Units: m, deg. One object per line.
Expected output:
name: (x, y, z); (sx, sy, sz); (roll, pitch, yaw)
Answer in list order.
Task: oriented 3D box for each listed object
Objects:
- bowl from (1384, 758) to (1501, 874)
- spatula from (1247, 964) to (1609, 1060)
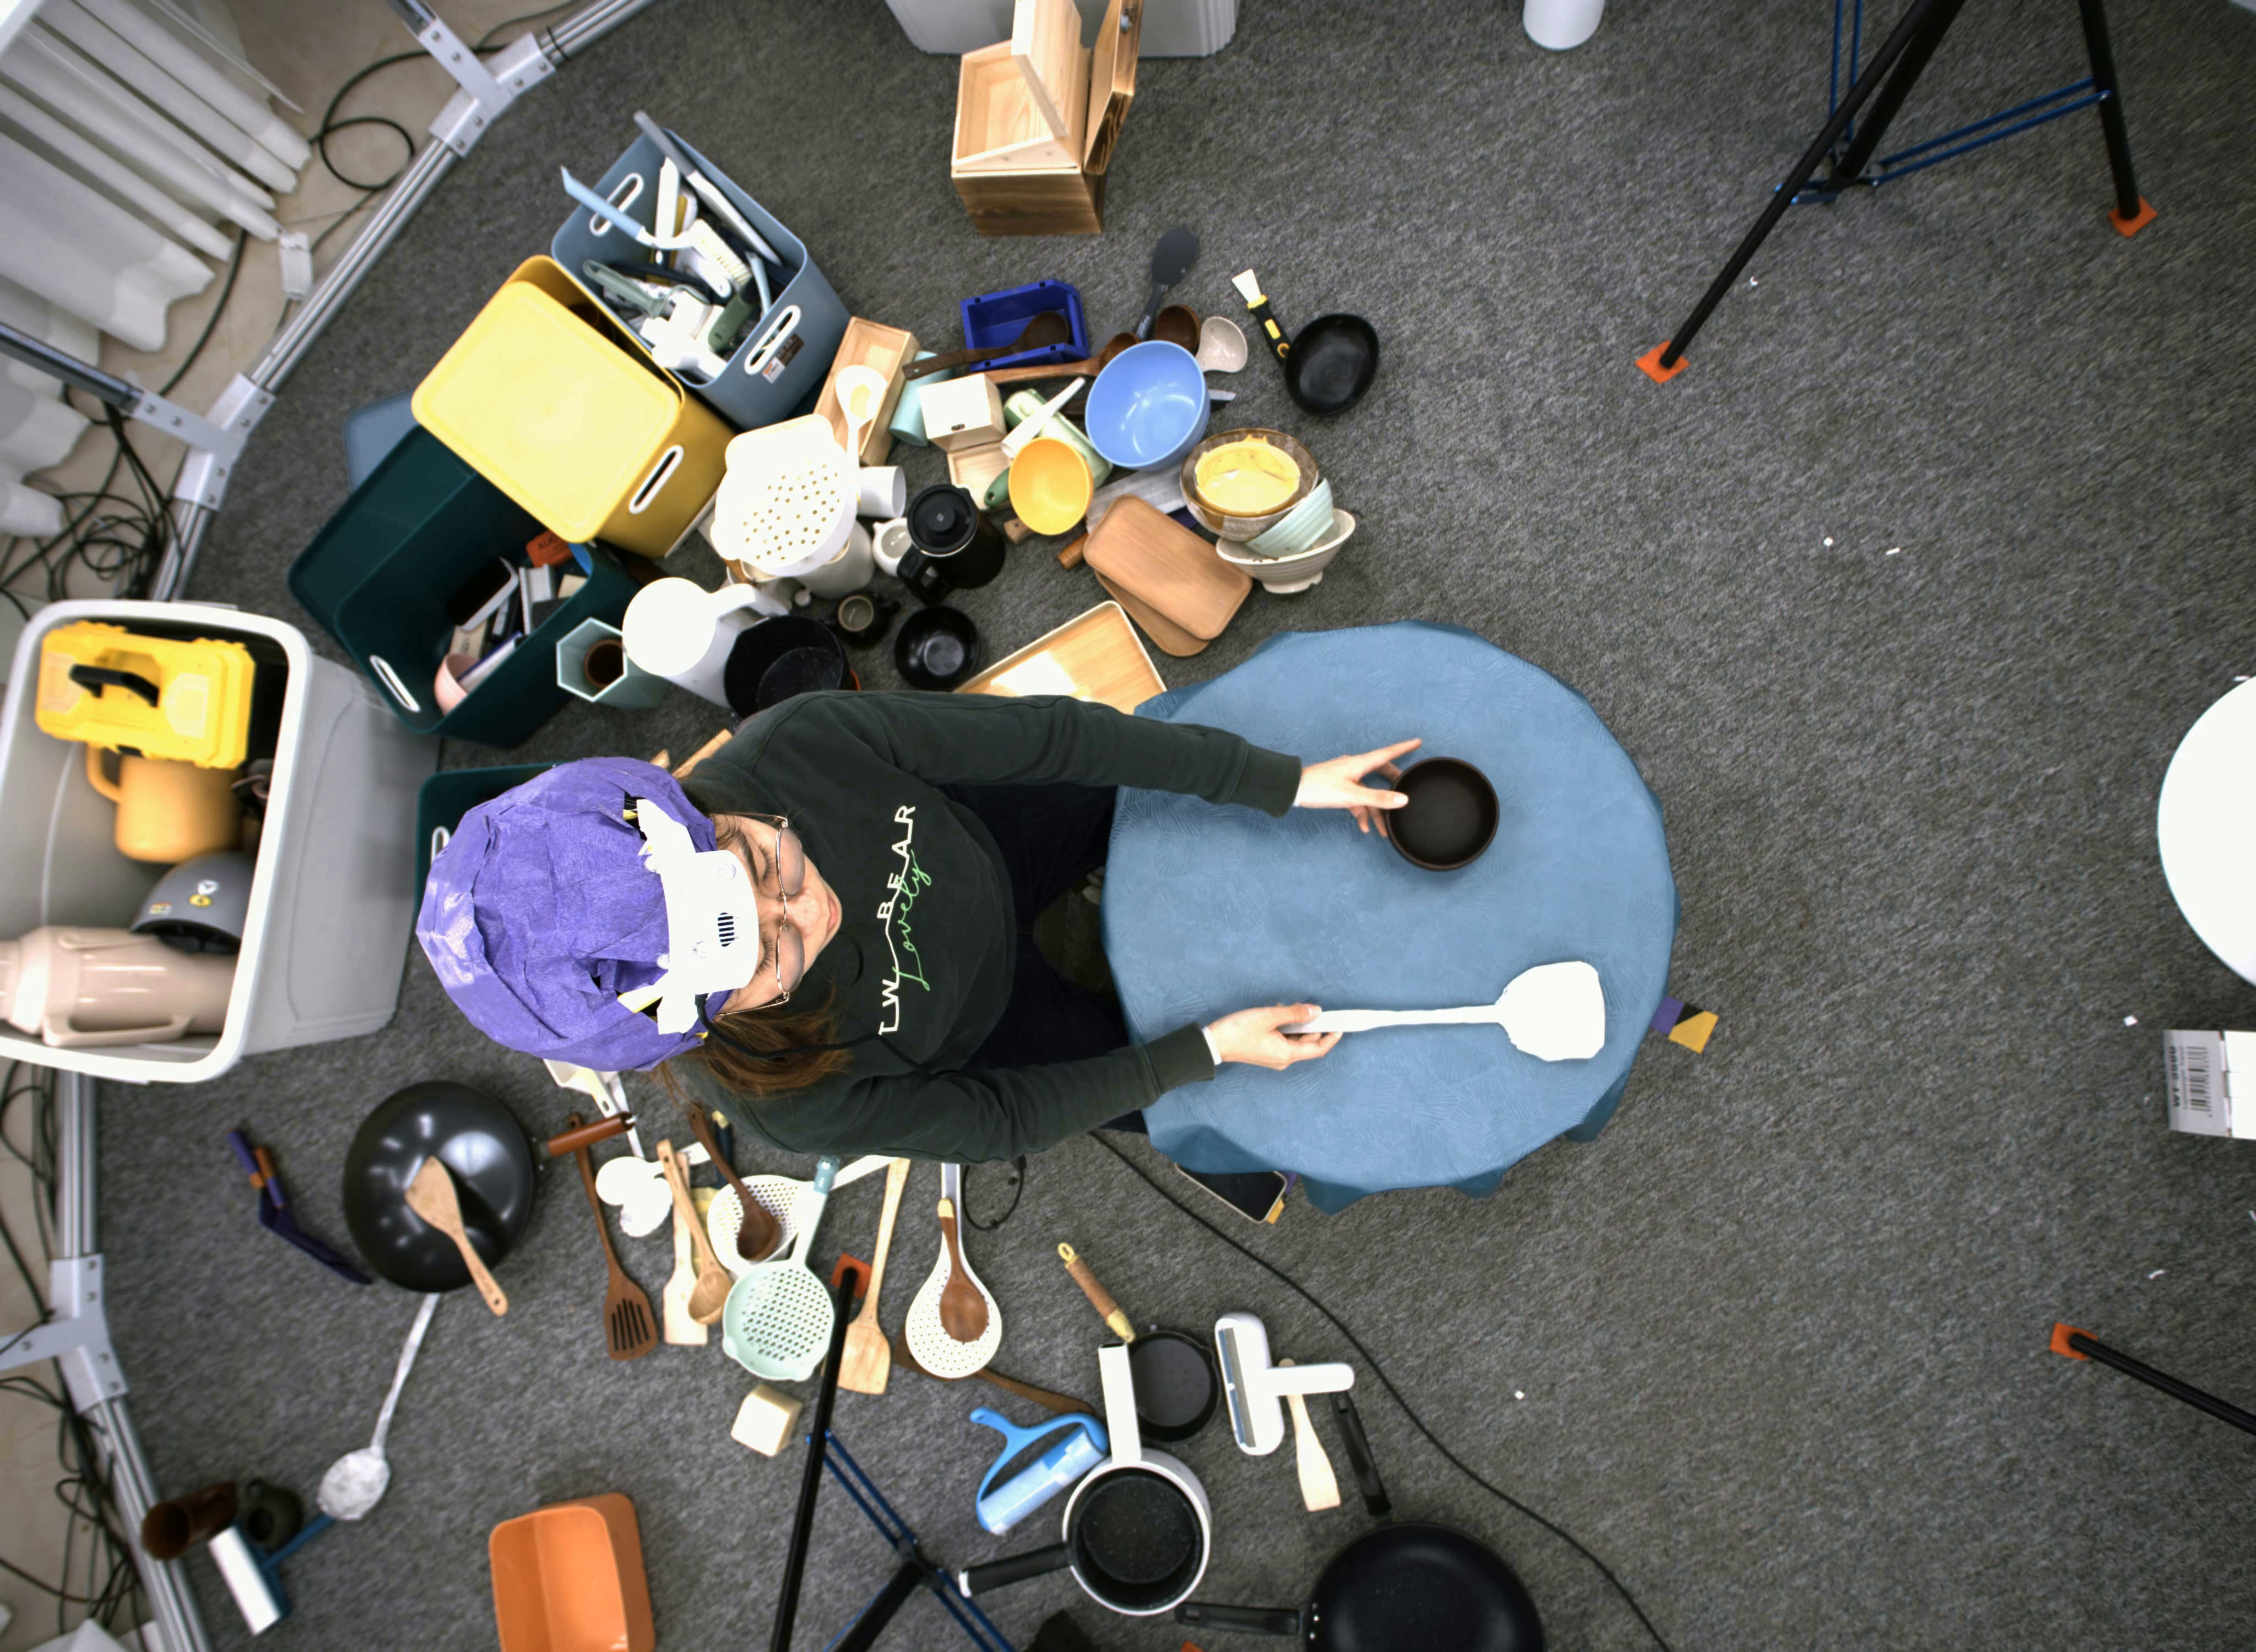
bowl: (0.324, -0.009, 1.424); (0.118, 0.070, 0.117); (-1, 84, 11)
spatula: (0.305, 0.193, 1.422); (0.366, 0.045, 0.098); (-2, 85, 5)
